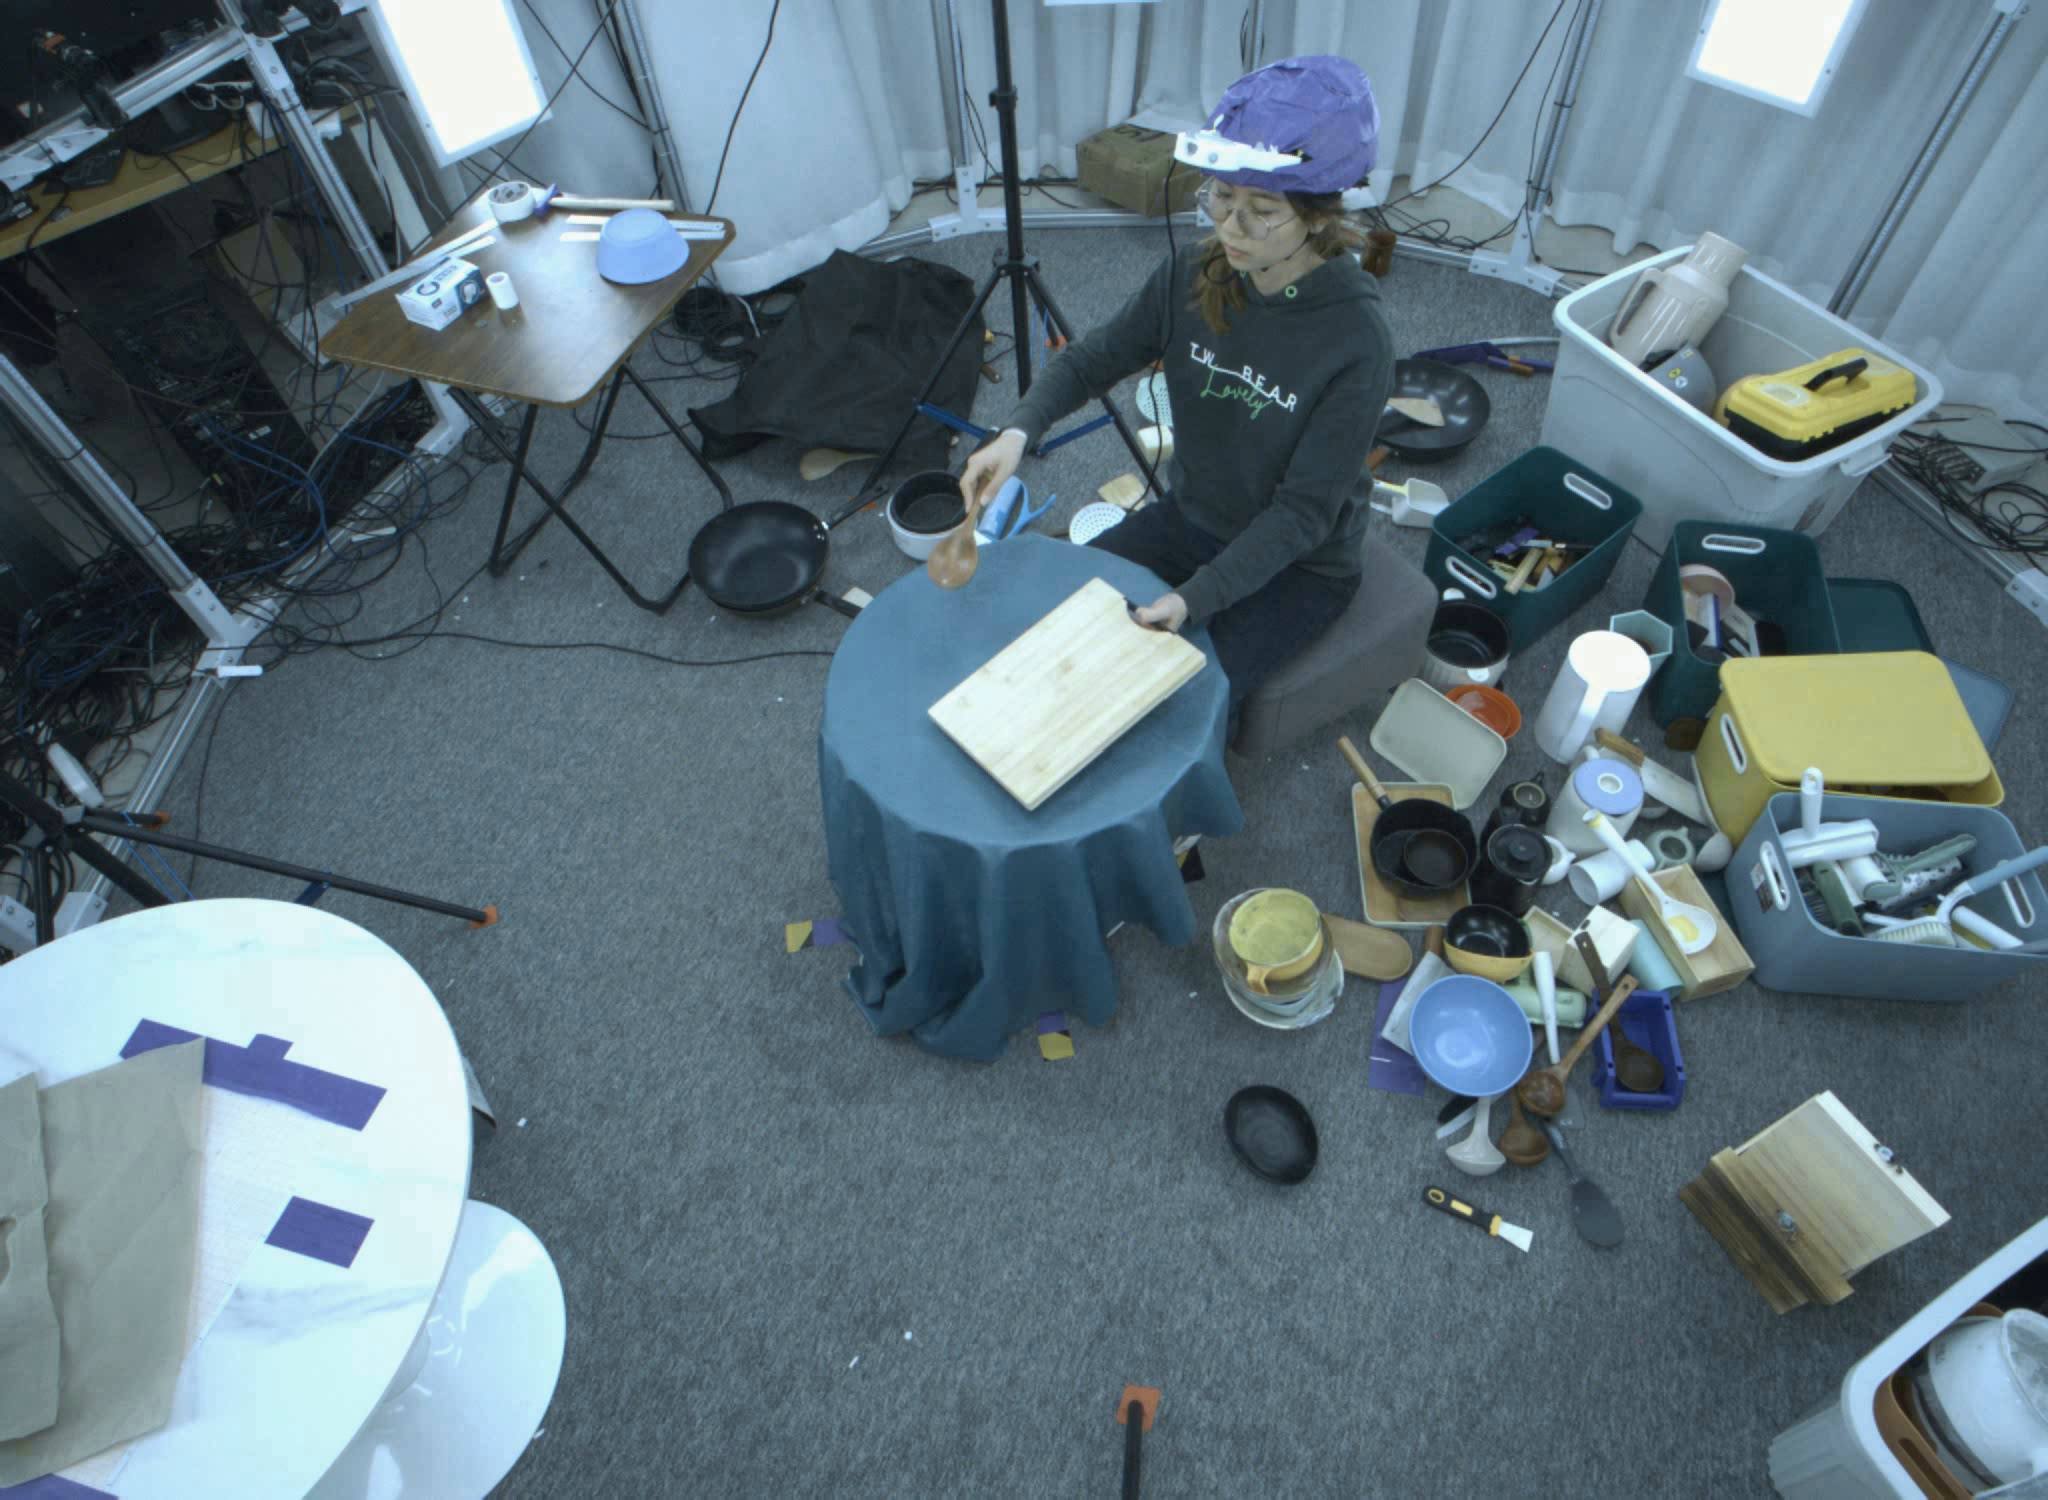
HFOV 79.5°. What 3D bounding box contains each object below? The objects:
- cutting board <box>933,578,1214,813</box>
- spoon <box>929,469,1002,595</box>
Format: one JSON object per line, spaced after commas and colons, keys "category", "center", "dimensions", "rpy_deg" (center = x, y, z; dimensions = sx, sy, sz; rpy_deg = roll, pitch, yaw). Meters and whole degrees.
{"category": "cutting board", "center": [0.068, -0.089, 1.796], "dimensions": [0.350, 0.024, 0.245], "rpy_deg": [-40, 58, -14]}
{"category": "spoon", "center": [-0.081, -0.329, 1.845], "dimensions": [0.075, 0.017, 0.215], "rpy_deg": [20, 78, 6]}
